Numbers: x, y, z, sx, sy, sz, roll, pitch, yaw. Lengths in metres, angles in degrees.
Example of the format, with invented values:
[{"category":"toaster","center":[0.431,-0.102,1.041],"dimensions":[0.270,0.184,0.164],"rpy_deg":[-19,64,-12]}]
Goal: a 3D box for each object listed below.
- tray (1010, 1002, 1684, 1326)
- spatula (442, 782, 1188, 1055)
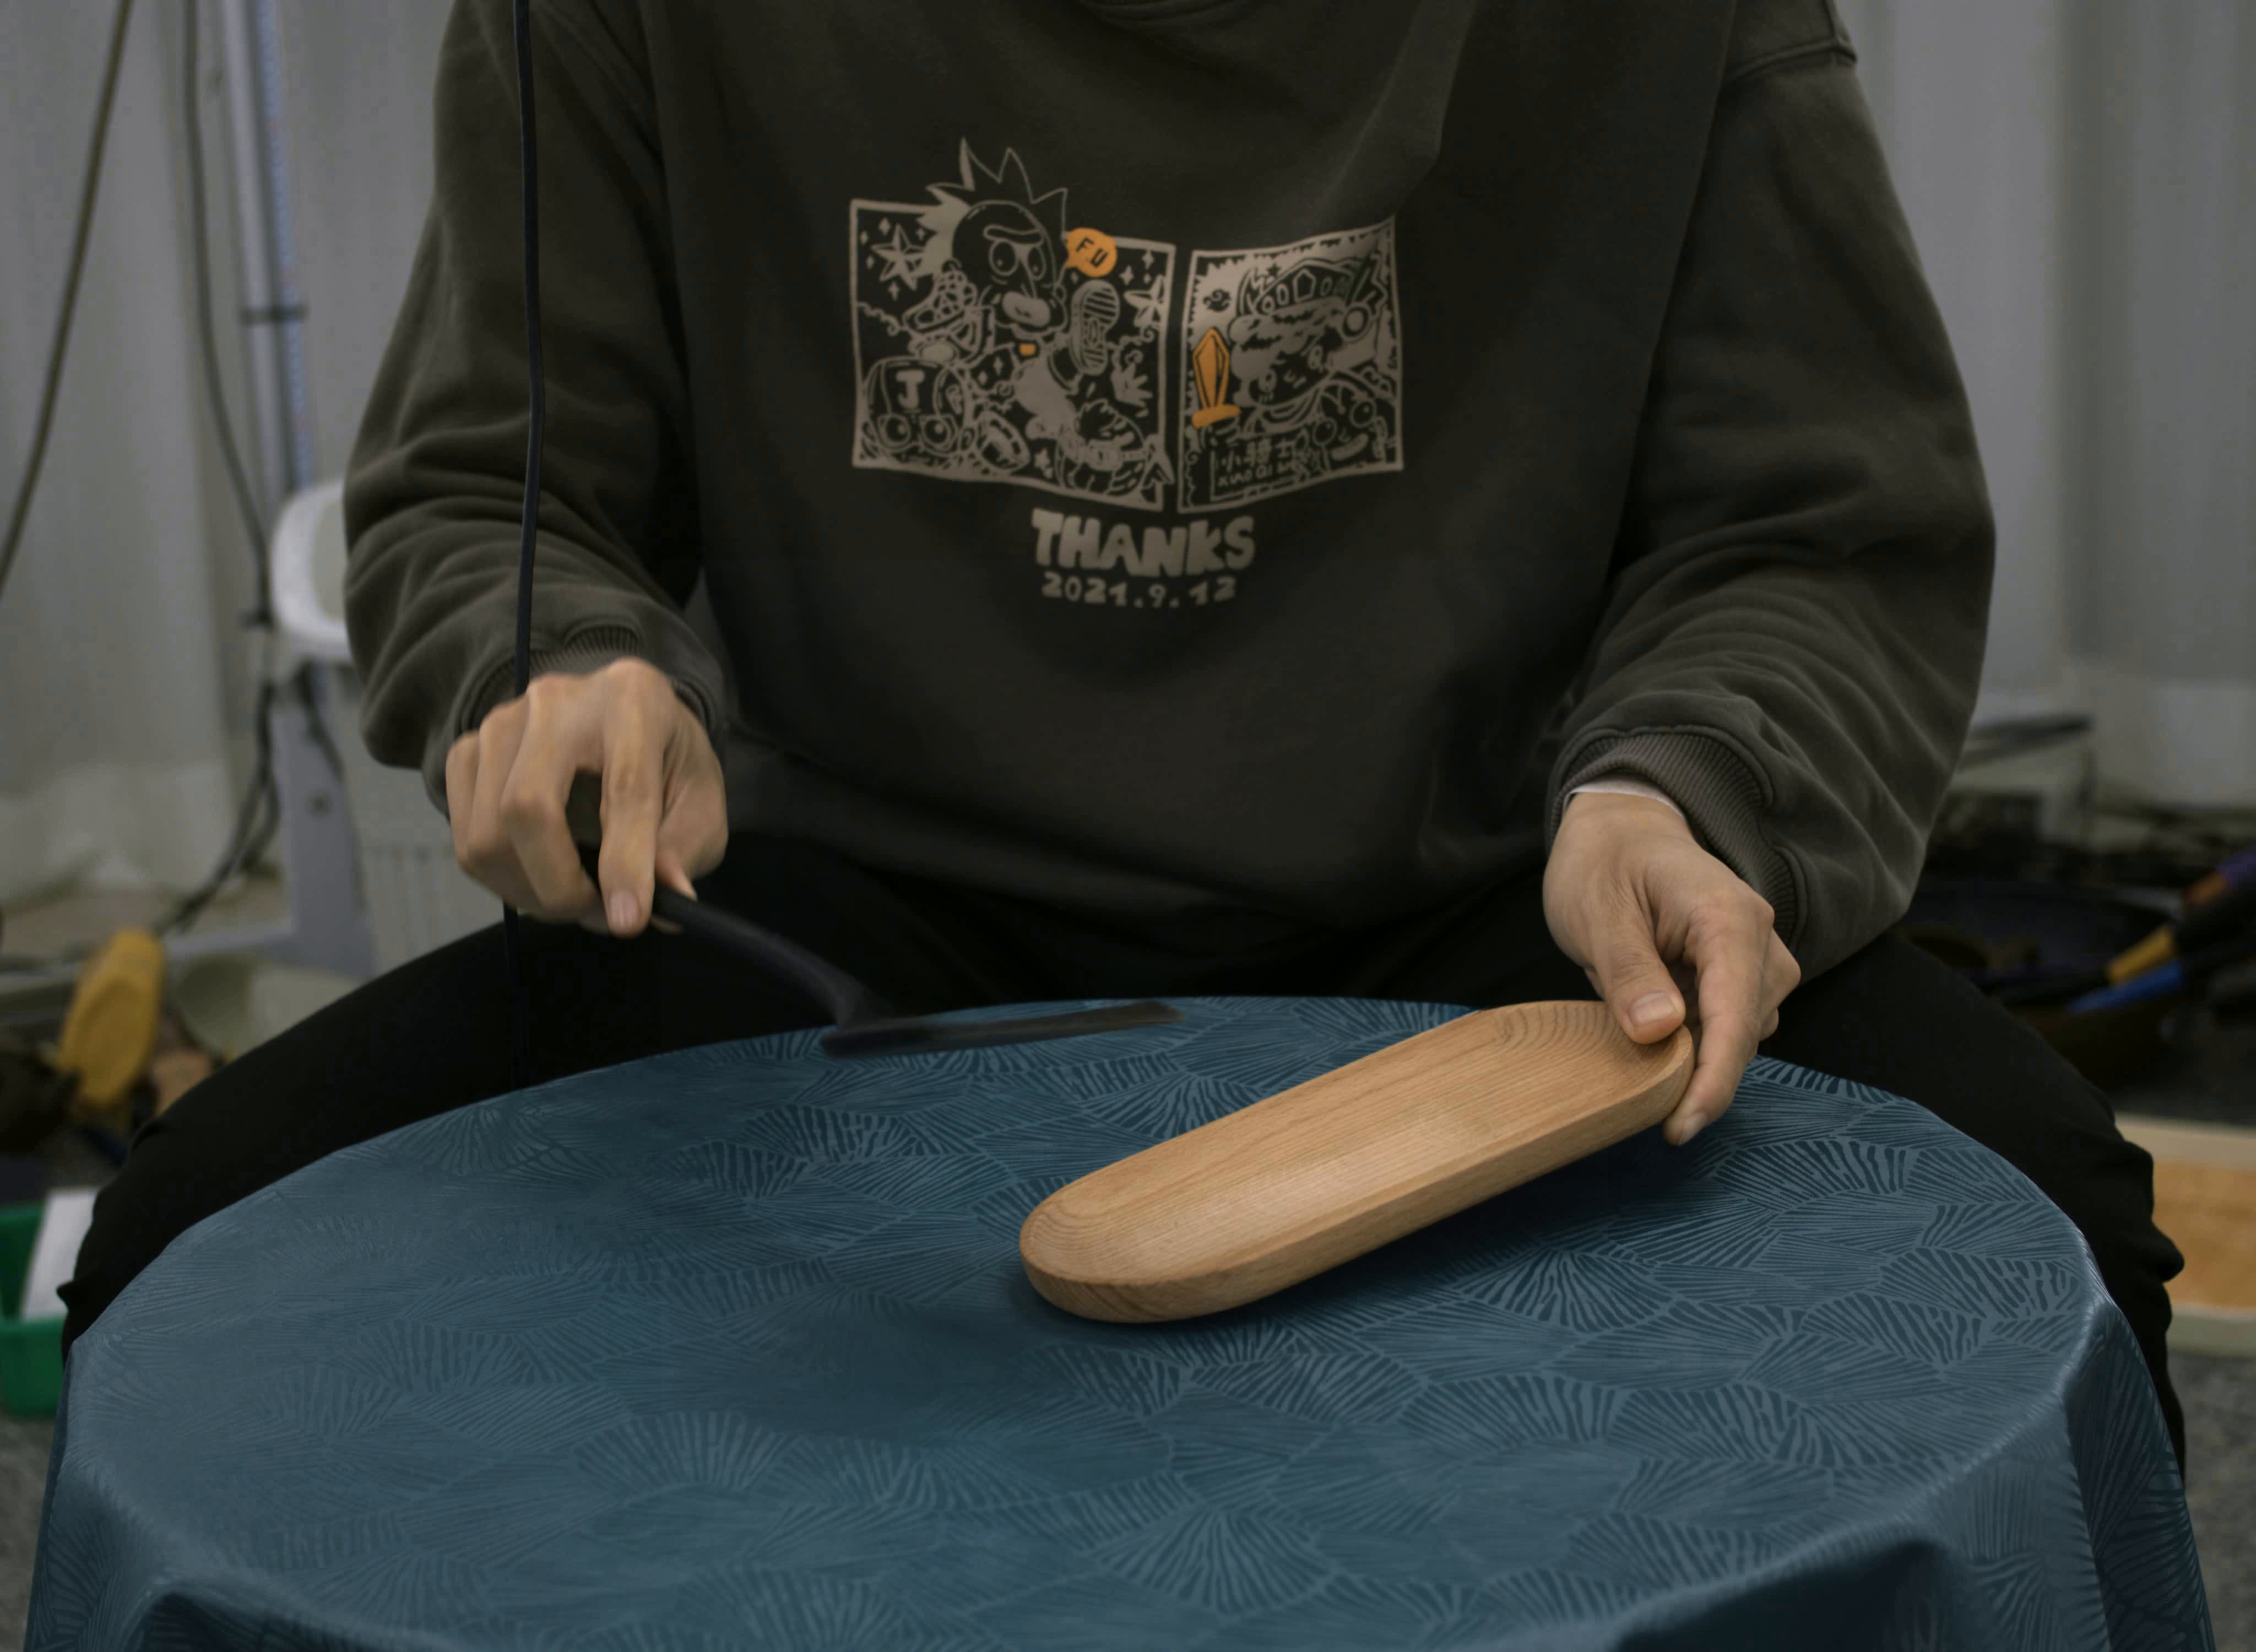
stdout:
[{"category":"tray","center":[0.069,0.102,1.665],"dimensions":[0.231,0.020,0.102],"rpy_deg":[-23,21,-28]},{"category":"spatula","center":[-0.118,0.025,1.679],"dimensions":[0.099,0.040,0.329],"rpy_deg":[0,18,-41]}]
